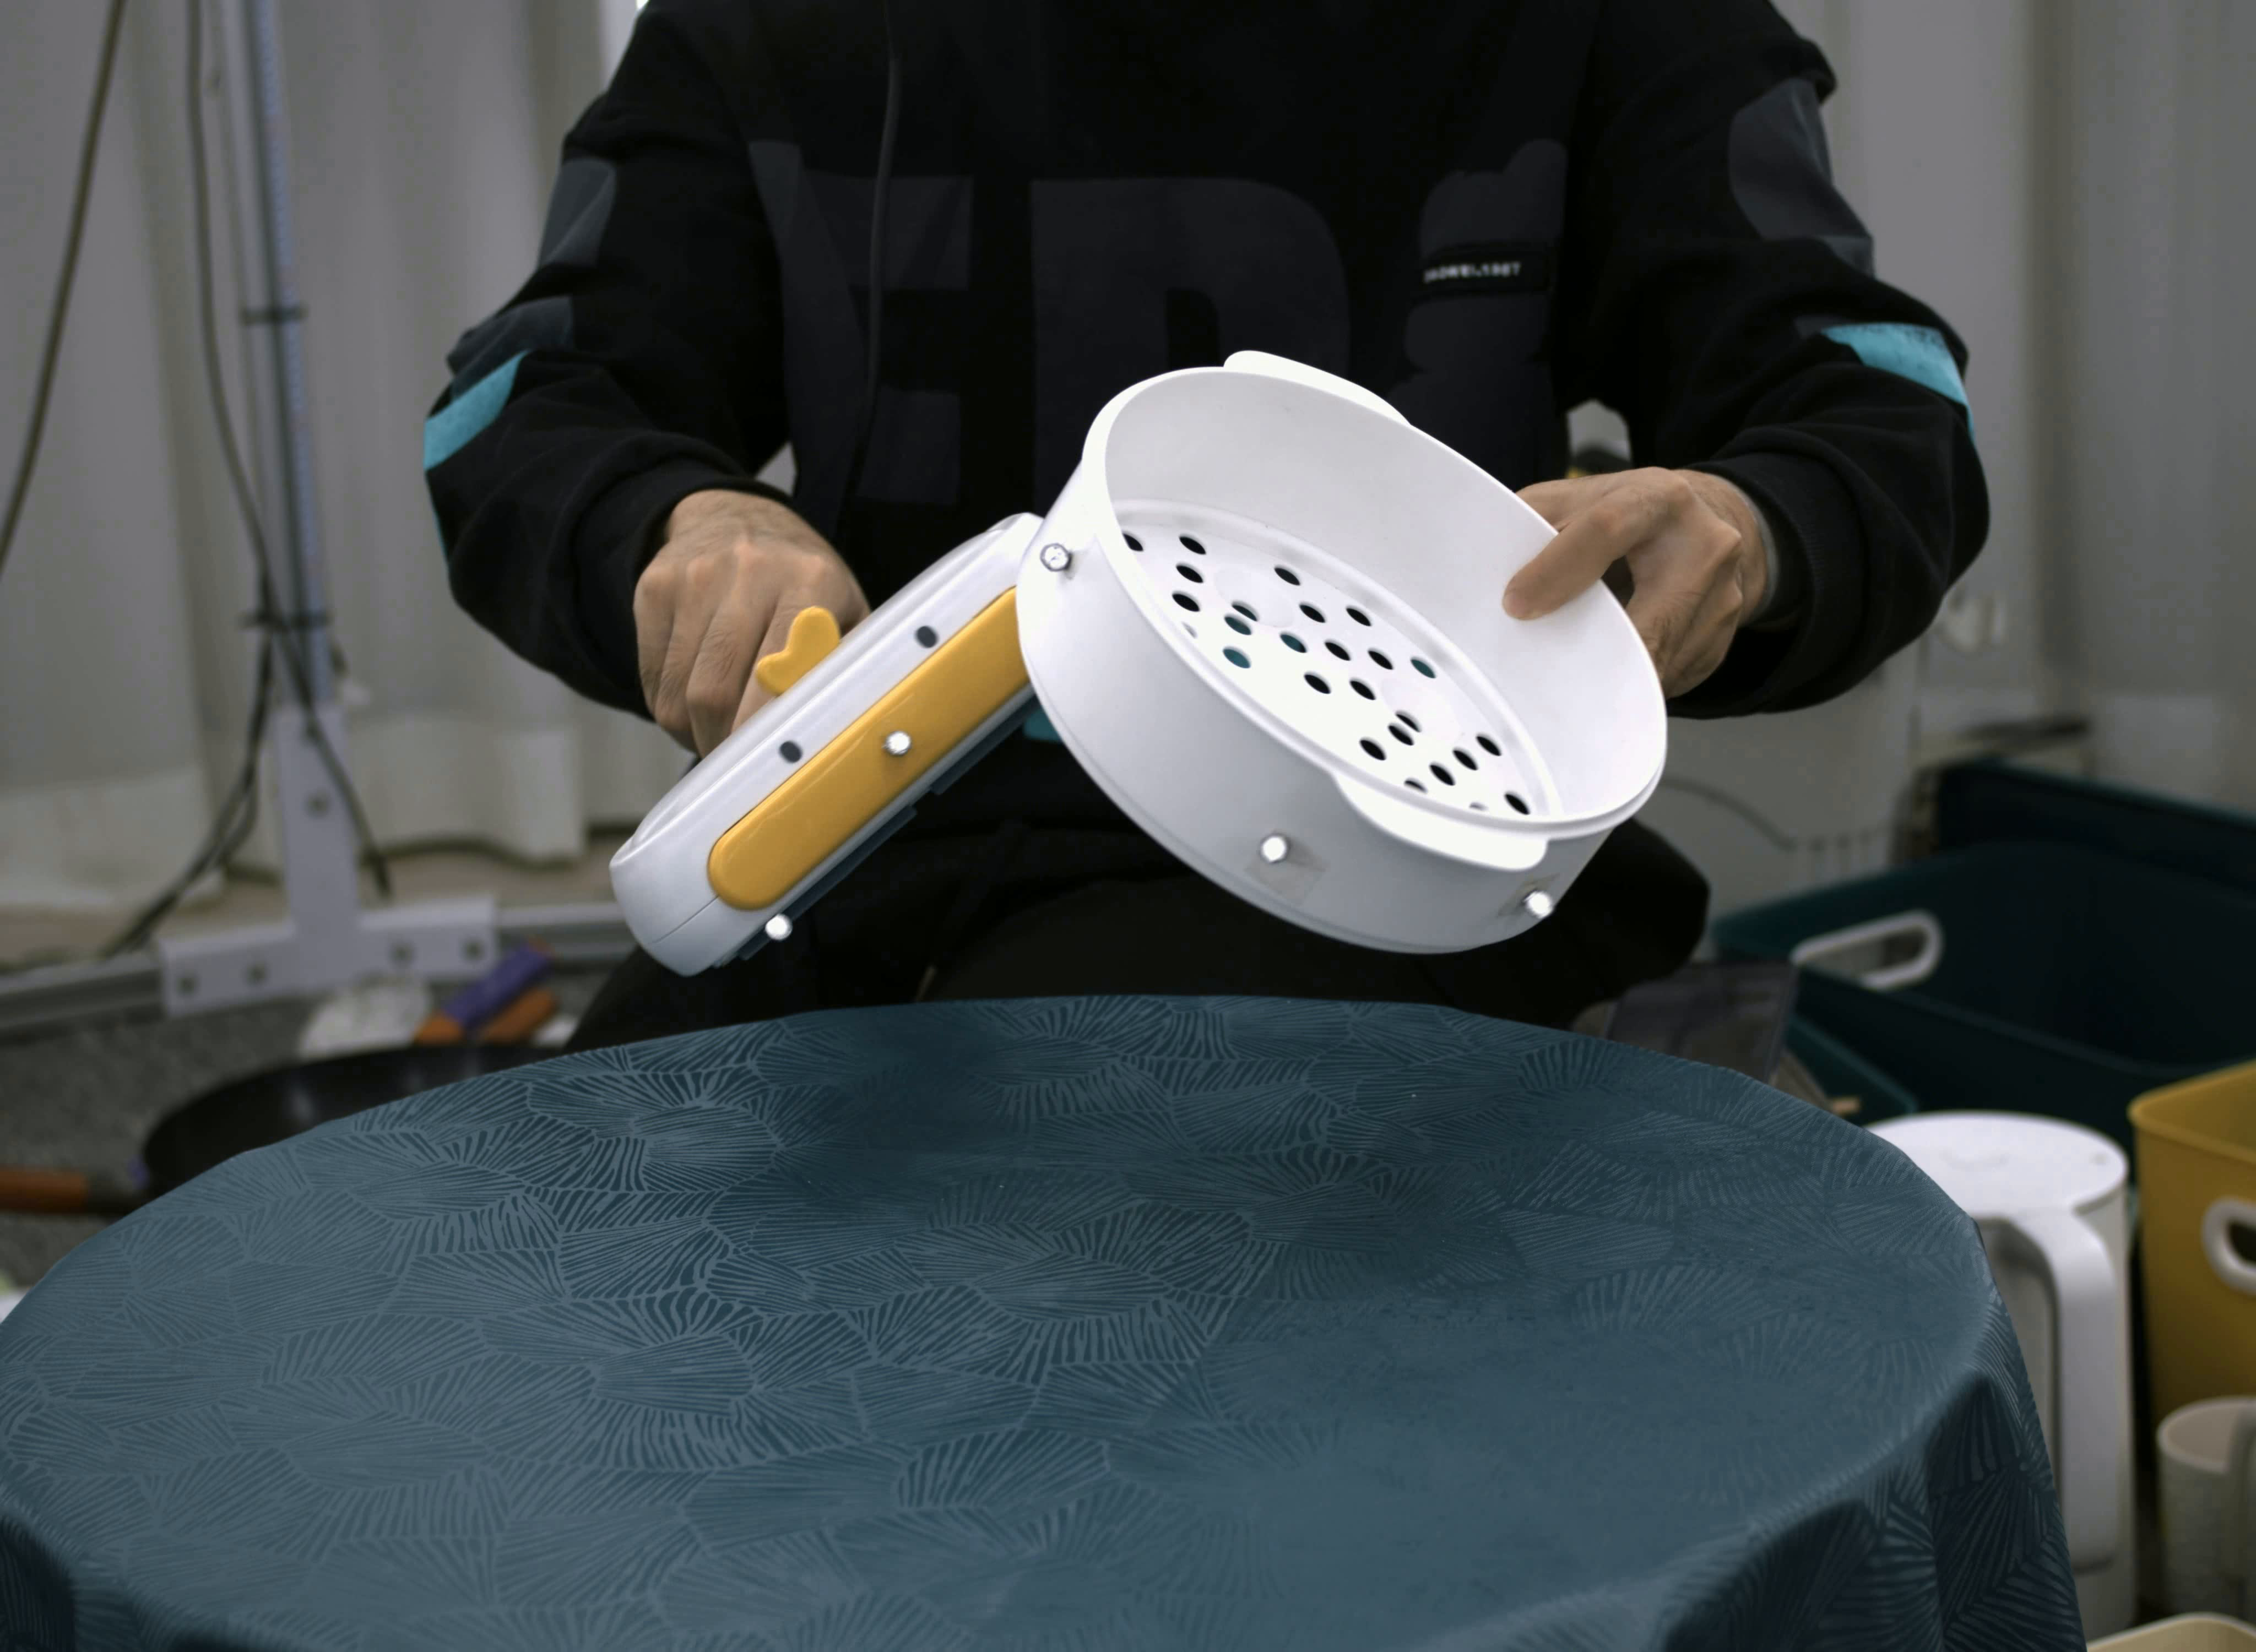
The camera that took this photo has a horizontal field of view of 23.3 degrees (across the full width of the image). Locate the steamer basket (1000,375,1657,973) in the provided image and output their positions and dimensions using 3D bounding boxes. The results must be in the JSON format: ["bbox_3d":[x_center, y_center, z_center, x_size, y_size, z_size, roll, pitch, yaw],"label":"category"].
[{"bbox_3d":[0.059,-0.043,1.645,0.200,0.069,0.234,19,33,-25],"label":"steamer basket"}]

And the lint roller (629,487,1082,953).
[{"bbox_3d":[-0.106,-0.043,1.810,0.193,0.073,0.193,-46,19,-15],"label":"lint roller"}]
